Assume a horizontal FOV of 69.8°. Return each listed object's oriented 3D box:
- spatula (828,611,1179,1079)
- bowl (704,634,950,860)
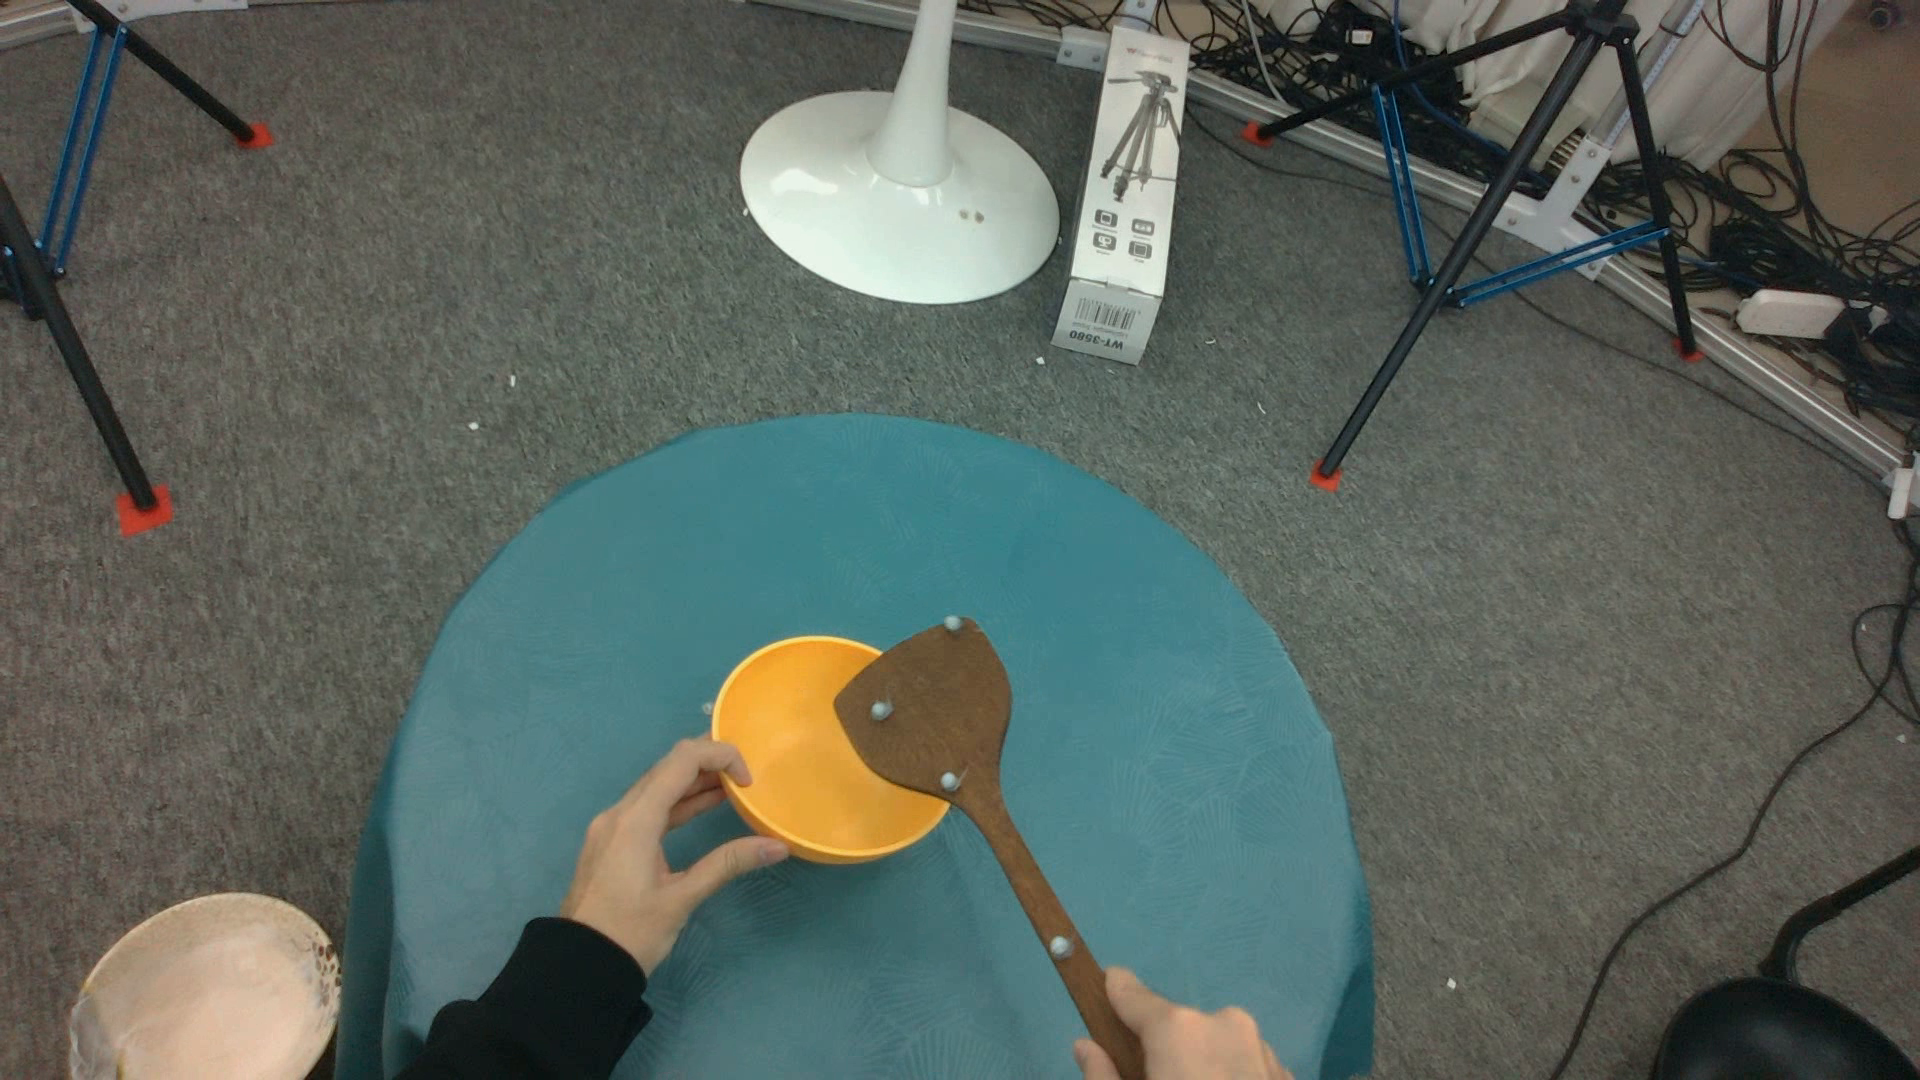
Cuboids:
[{"bbox_3d":[0.040,0.171,0.644,0.096,0.016,0.387,-32,45,-3],"label":"spatula"},{"bbox_3d":[-0.080,0.128,0.795,0.145,0.060,0.146,12,46,-13],"label":"bowl"}]
